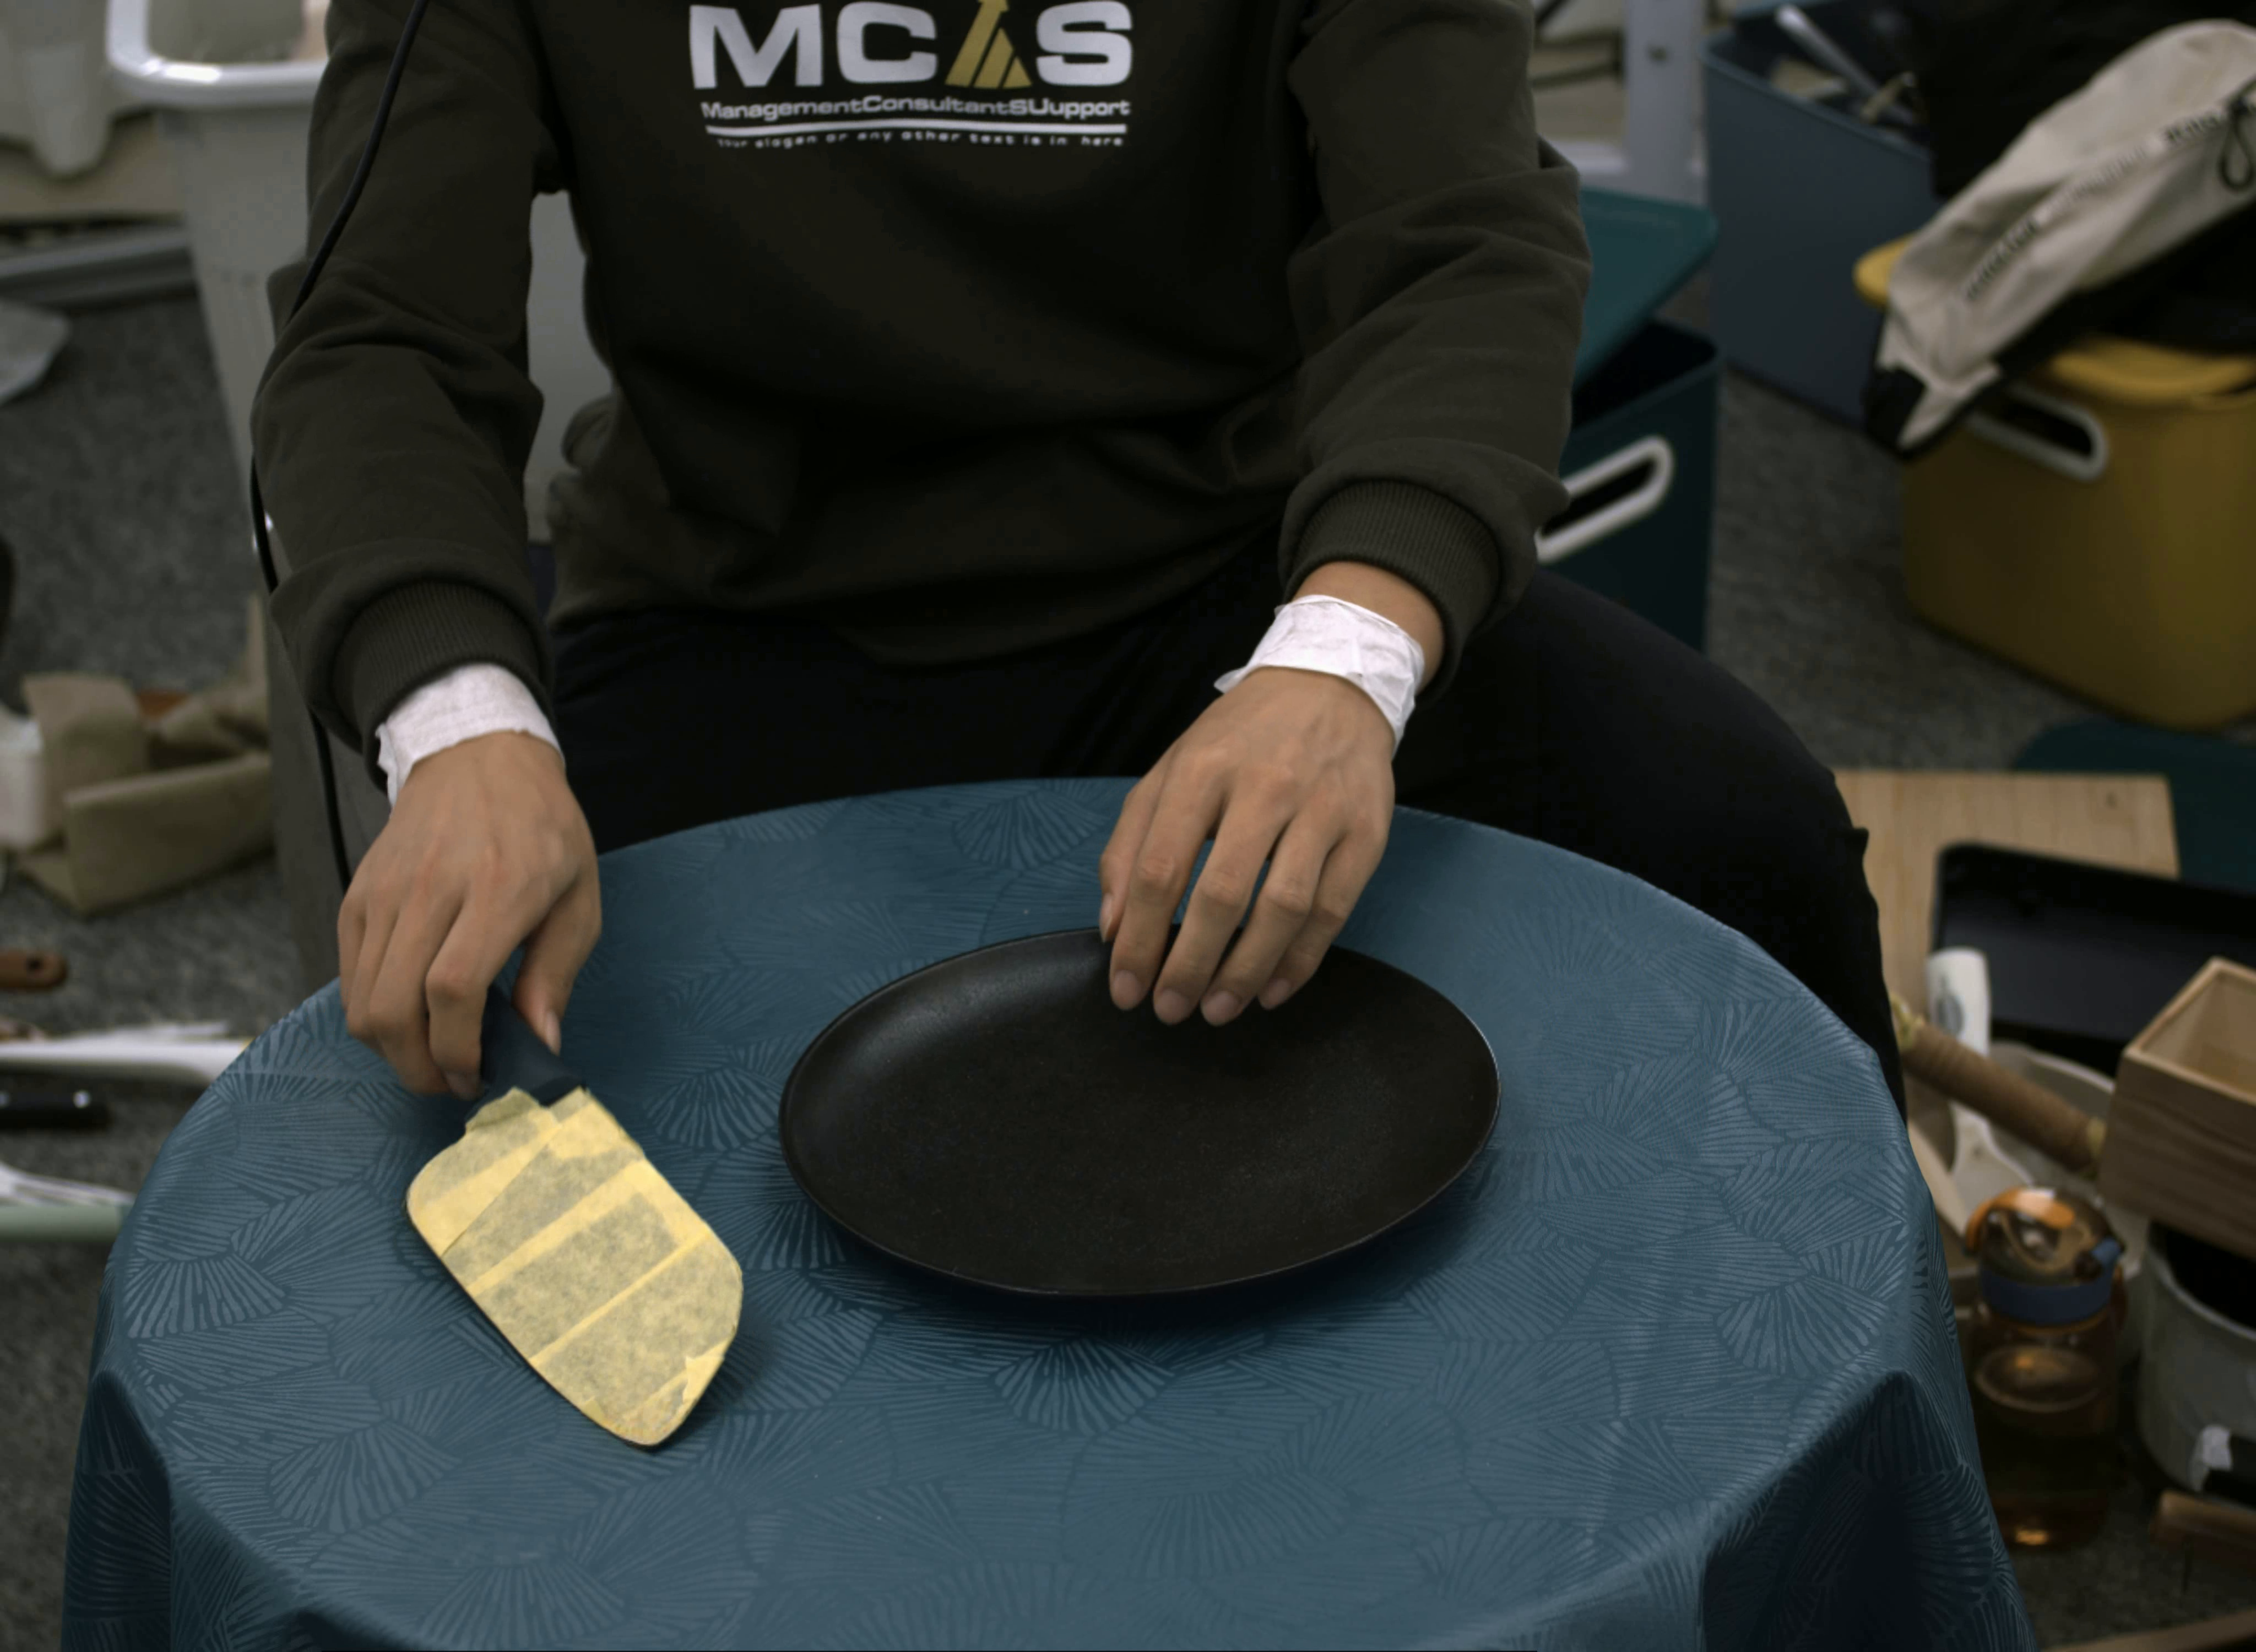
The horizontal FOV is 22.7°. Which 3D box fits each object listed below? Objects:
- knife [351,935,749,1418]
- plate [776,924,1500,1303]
[{"bbox_3d":[-0.202,0.115,1.847,0.081,0.027,0.291,-30,38,-14],"label":"knife"},{"bbox_3d":[0.003,0.100,1.878,0.243,0.023,0.248,-2,27,1],"label":"plate"}]
